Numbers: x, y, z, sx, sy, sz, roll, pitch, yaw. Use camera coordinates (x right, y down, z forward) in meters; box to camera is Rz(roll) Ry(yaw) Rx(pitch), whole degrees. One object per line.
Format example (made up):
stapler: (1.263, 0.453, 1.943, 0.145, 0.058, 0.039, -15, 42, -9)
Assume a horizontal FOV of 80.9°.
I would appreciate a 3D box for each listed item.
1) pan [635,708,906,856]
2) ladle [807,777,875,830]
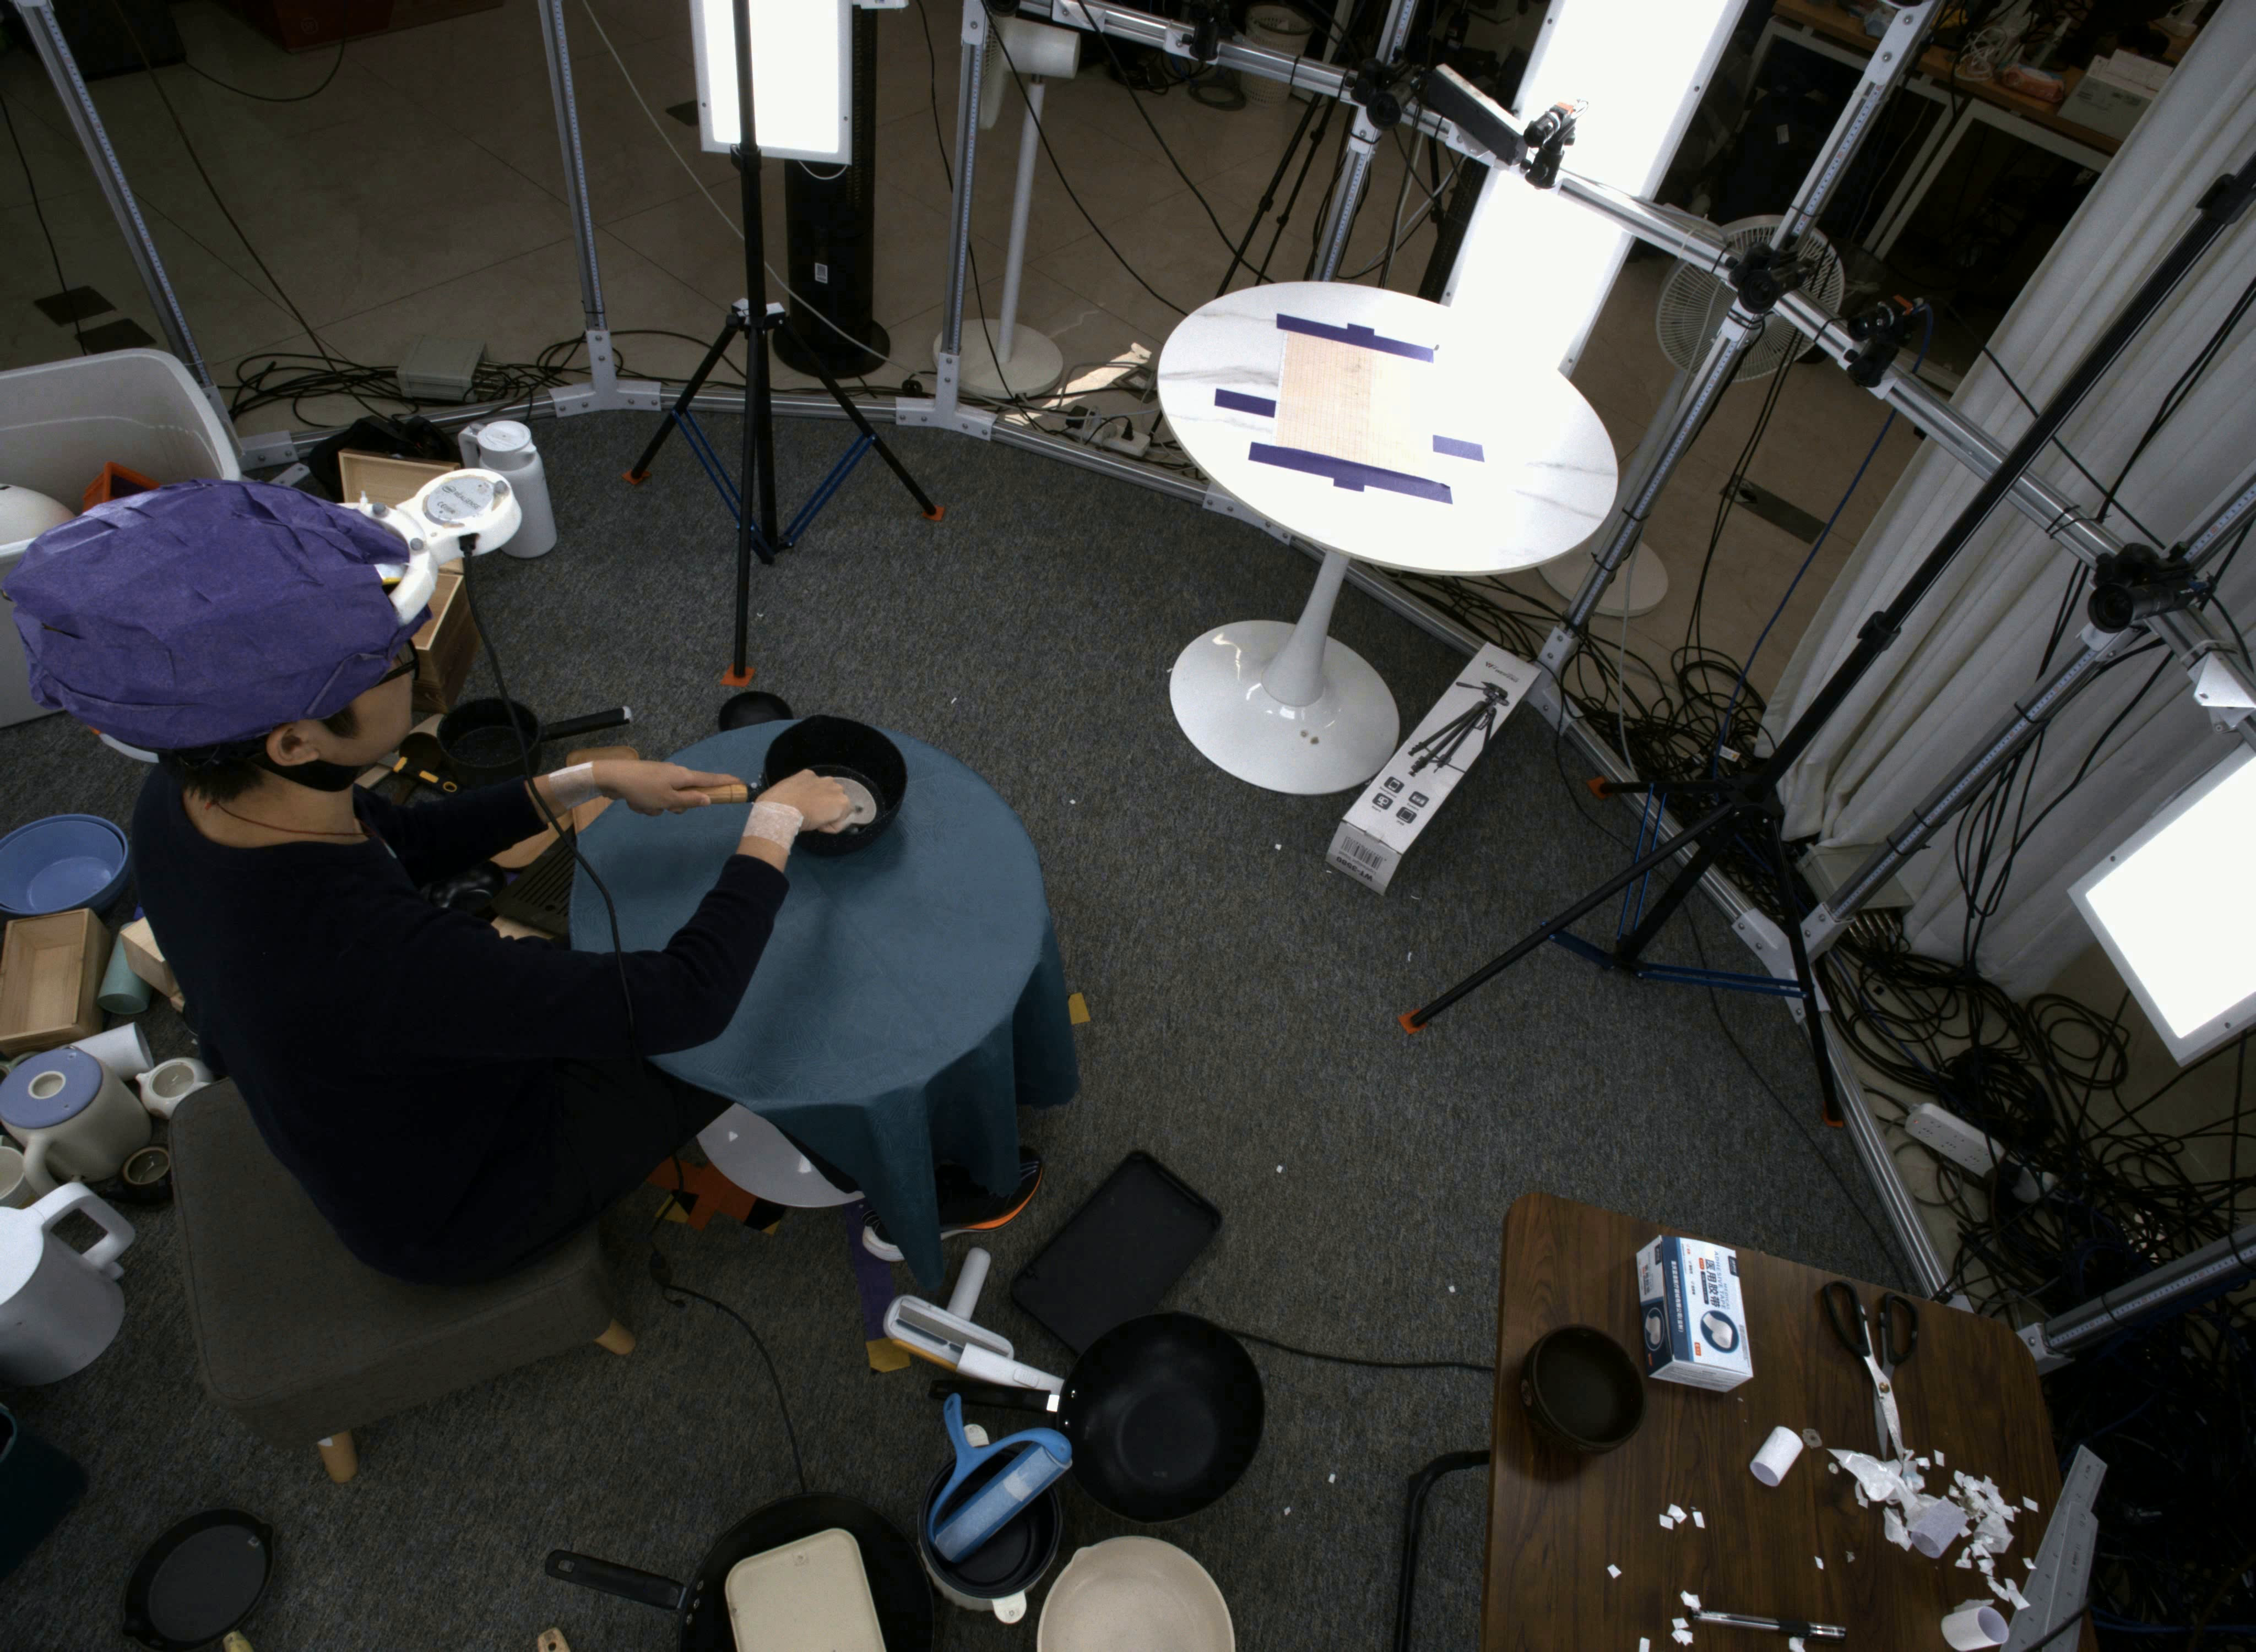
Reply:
pan: (-0.454, -0.040, 1.652, 0.346, 0.109, 0.203, -12, 61, -29)
ladle: (-0.360, -0.038, 1.598, 0.090, 0.273, 0.069, 31, 82, -6)
